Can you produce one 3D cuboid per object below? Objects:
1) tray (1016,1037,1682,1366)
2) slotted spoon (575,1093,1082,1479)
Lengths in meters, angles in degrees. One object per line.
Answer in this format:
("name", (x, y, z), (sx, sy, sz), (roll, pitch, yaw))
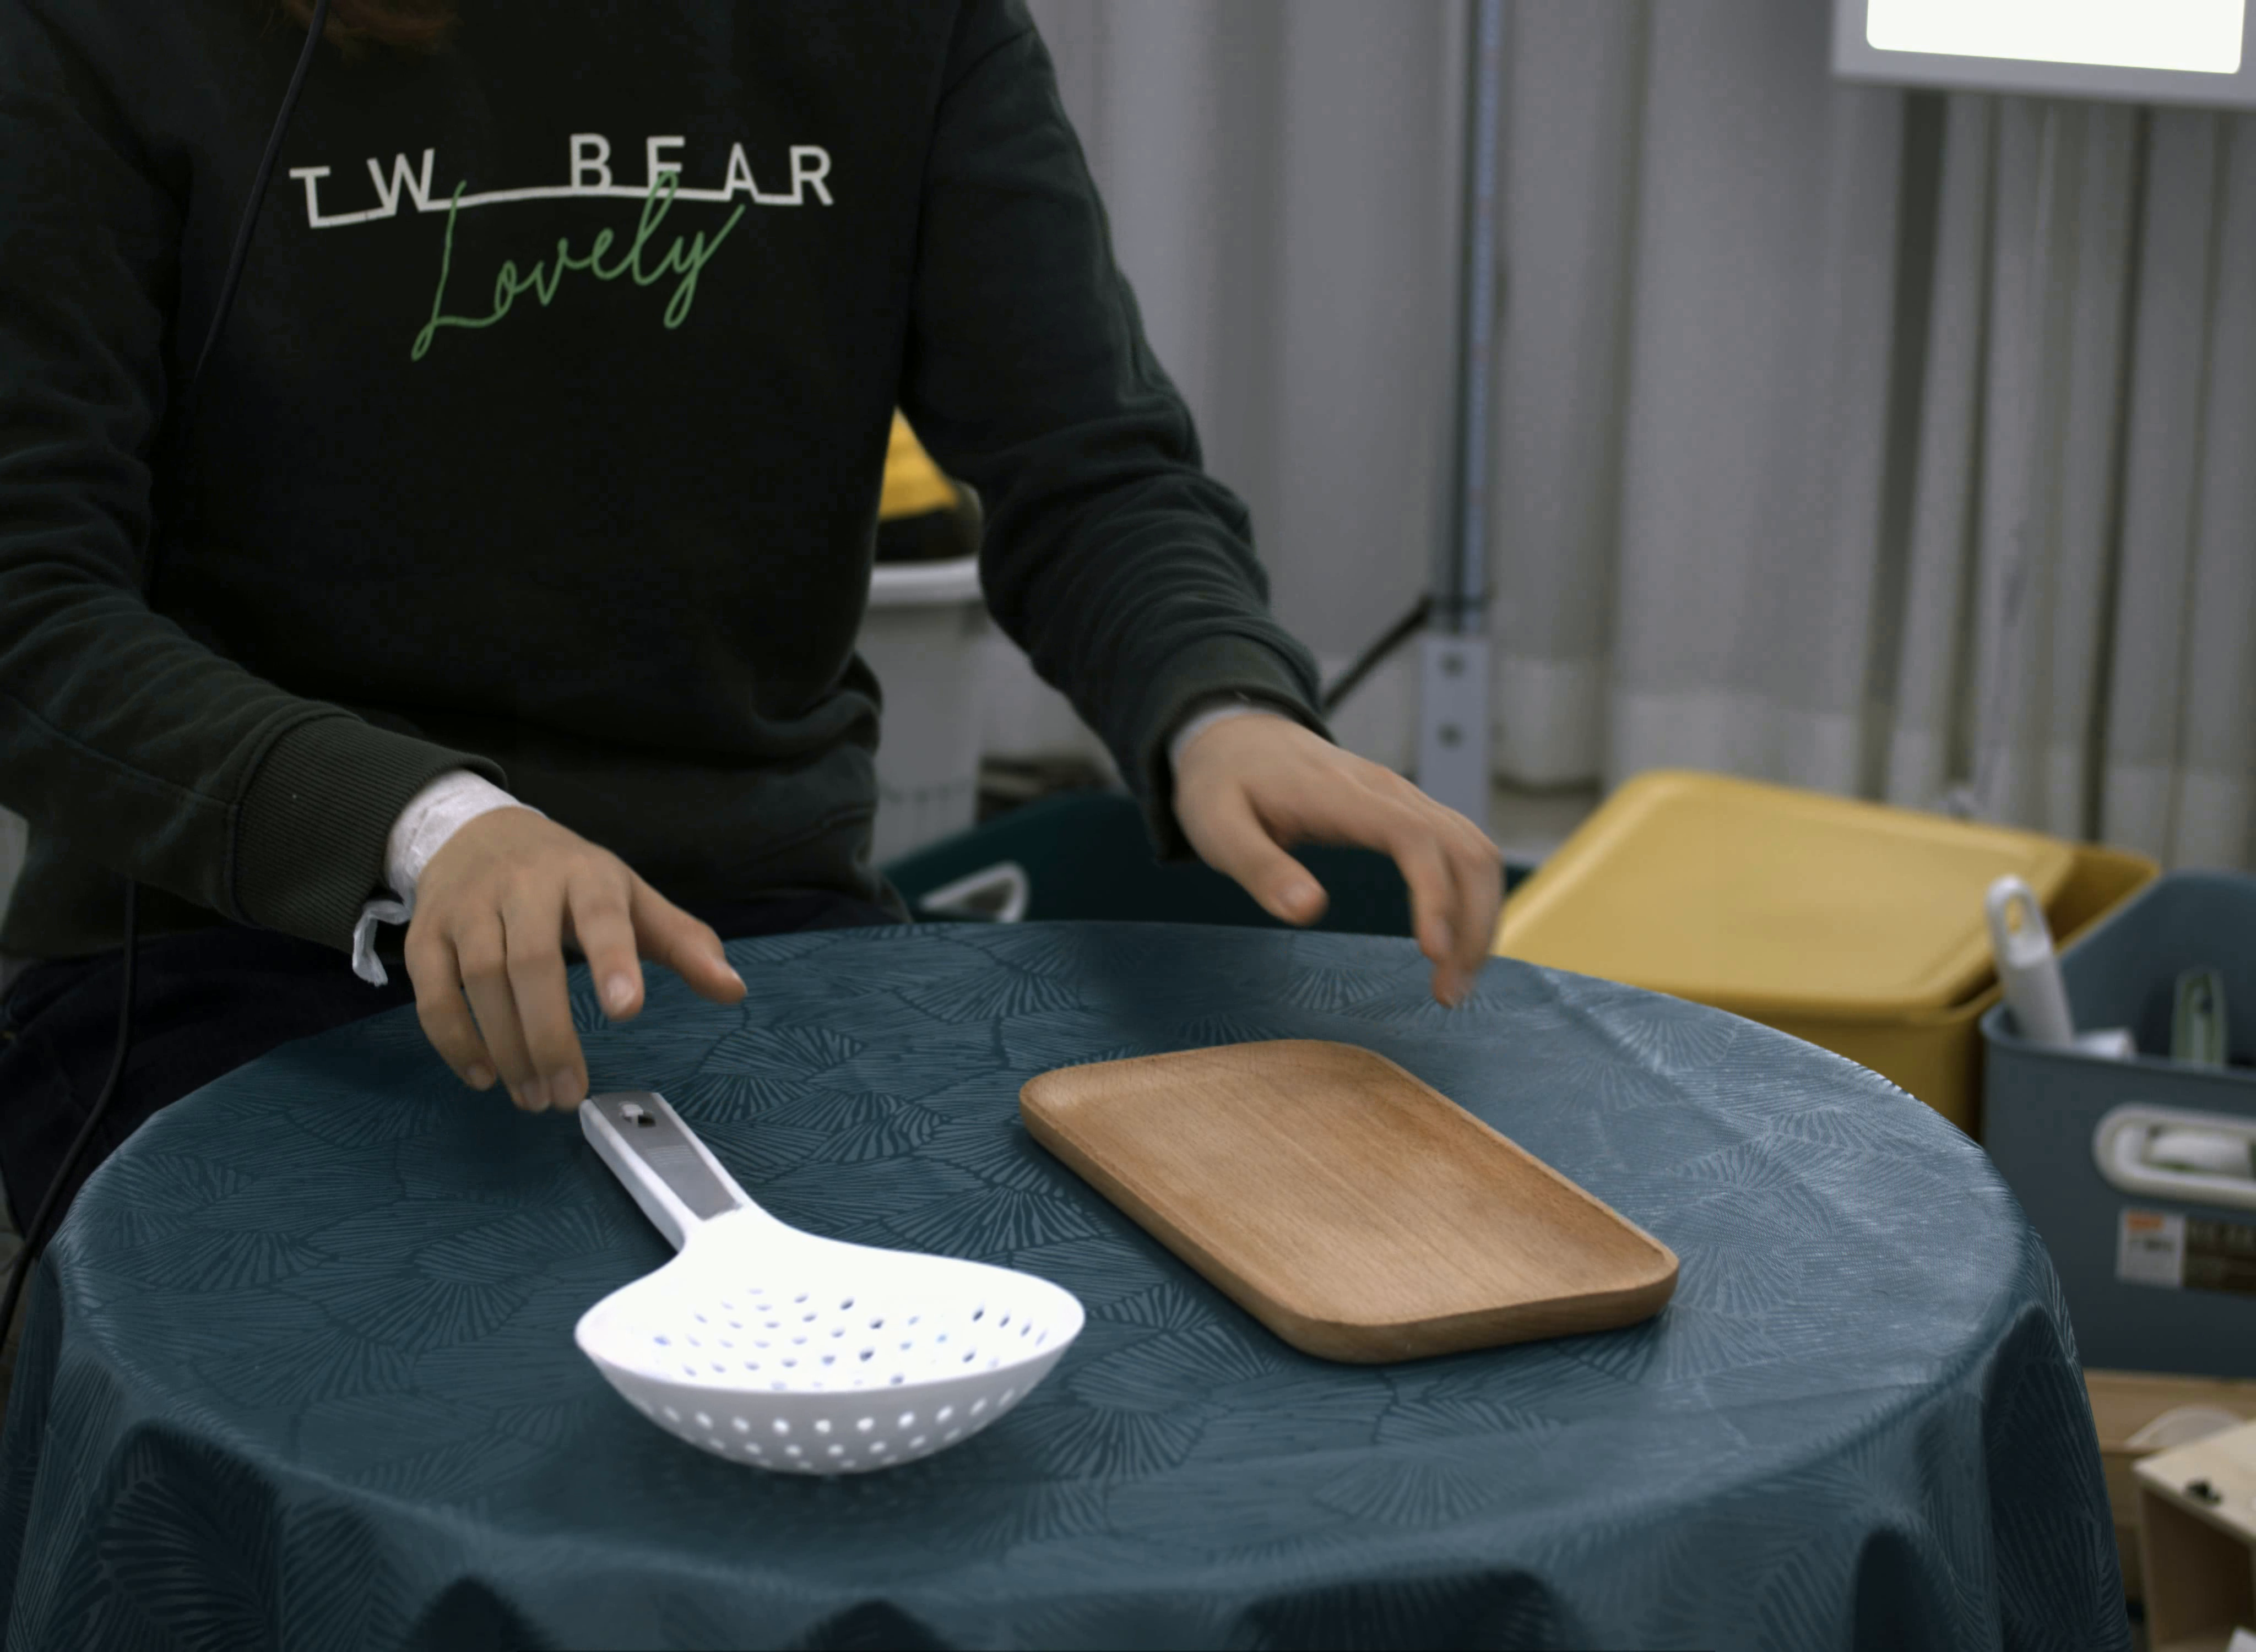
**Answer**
("tray", (0.063, 0.111, 1.604), (0.131, 0.023, 0.248), (-4, 15, -23))
("slotted spoon", (-0.111, 0.122, 1.506), (0.136, 0.046, 0.346), (-3, 15, -17))
